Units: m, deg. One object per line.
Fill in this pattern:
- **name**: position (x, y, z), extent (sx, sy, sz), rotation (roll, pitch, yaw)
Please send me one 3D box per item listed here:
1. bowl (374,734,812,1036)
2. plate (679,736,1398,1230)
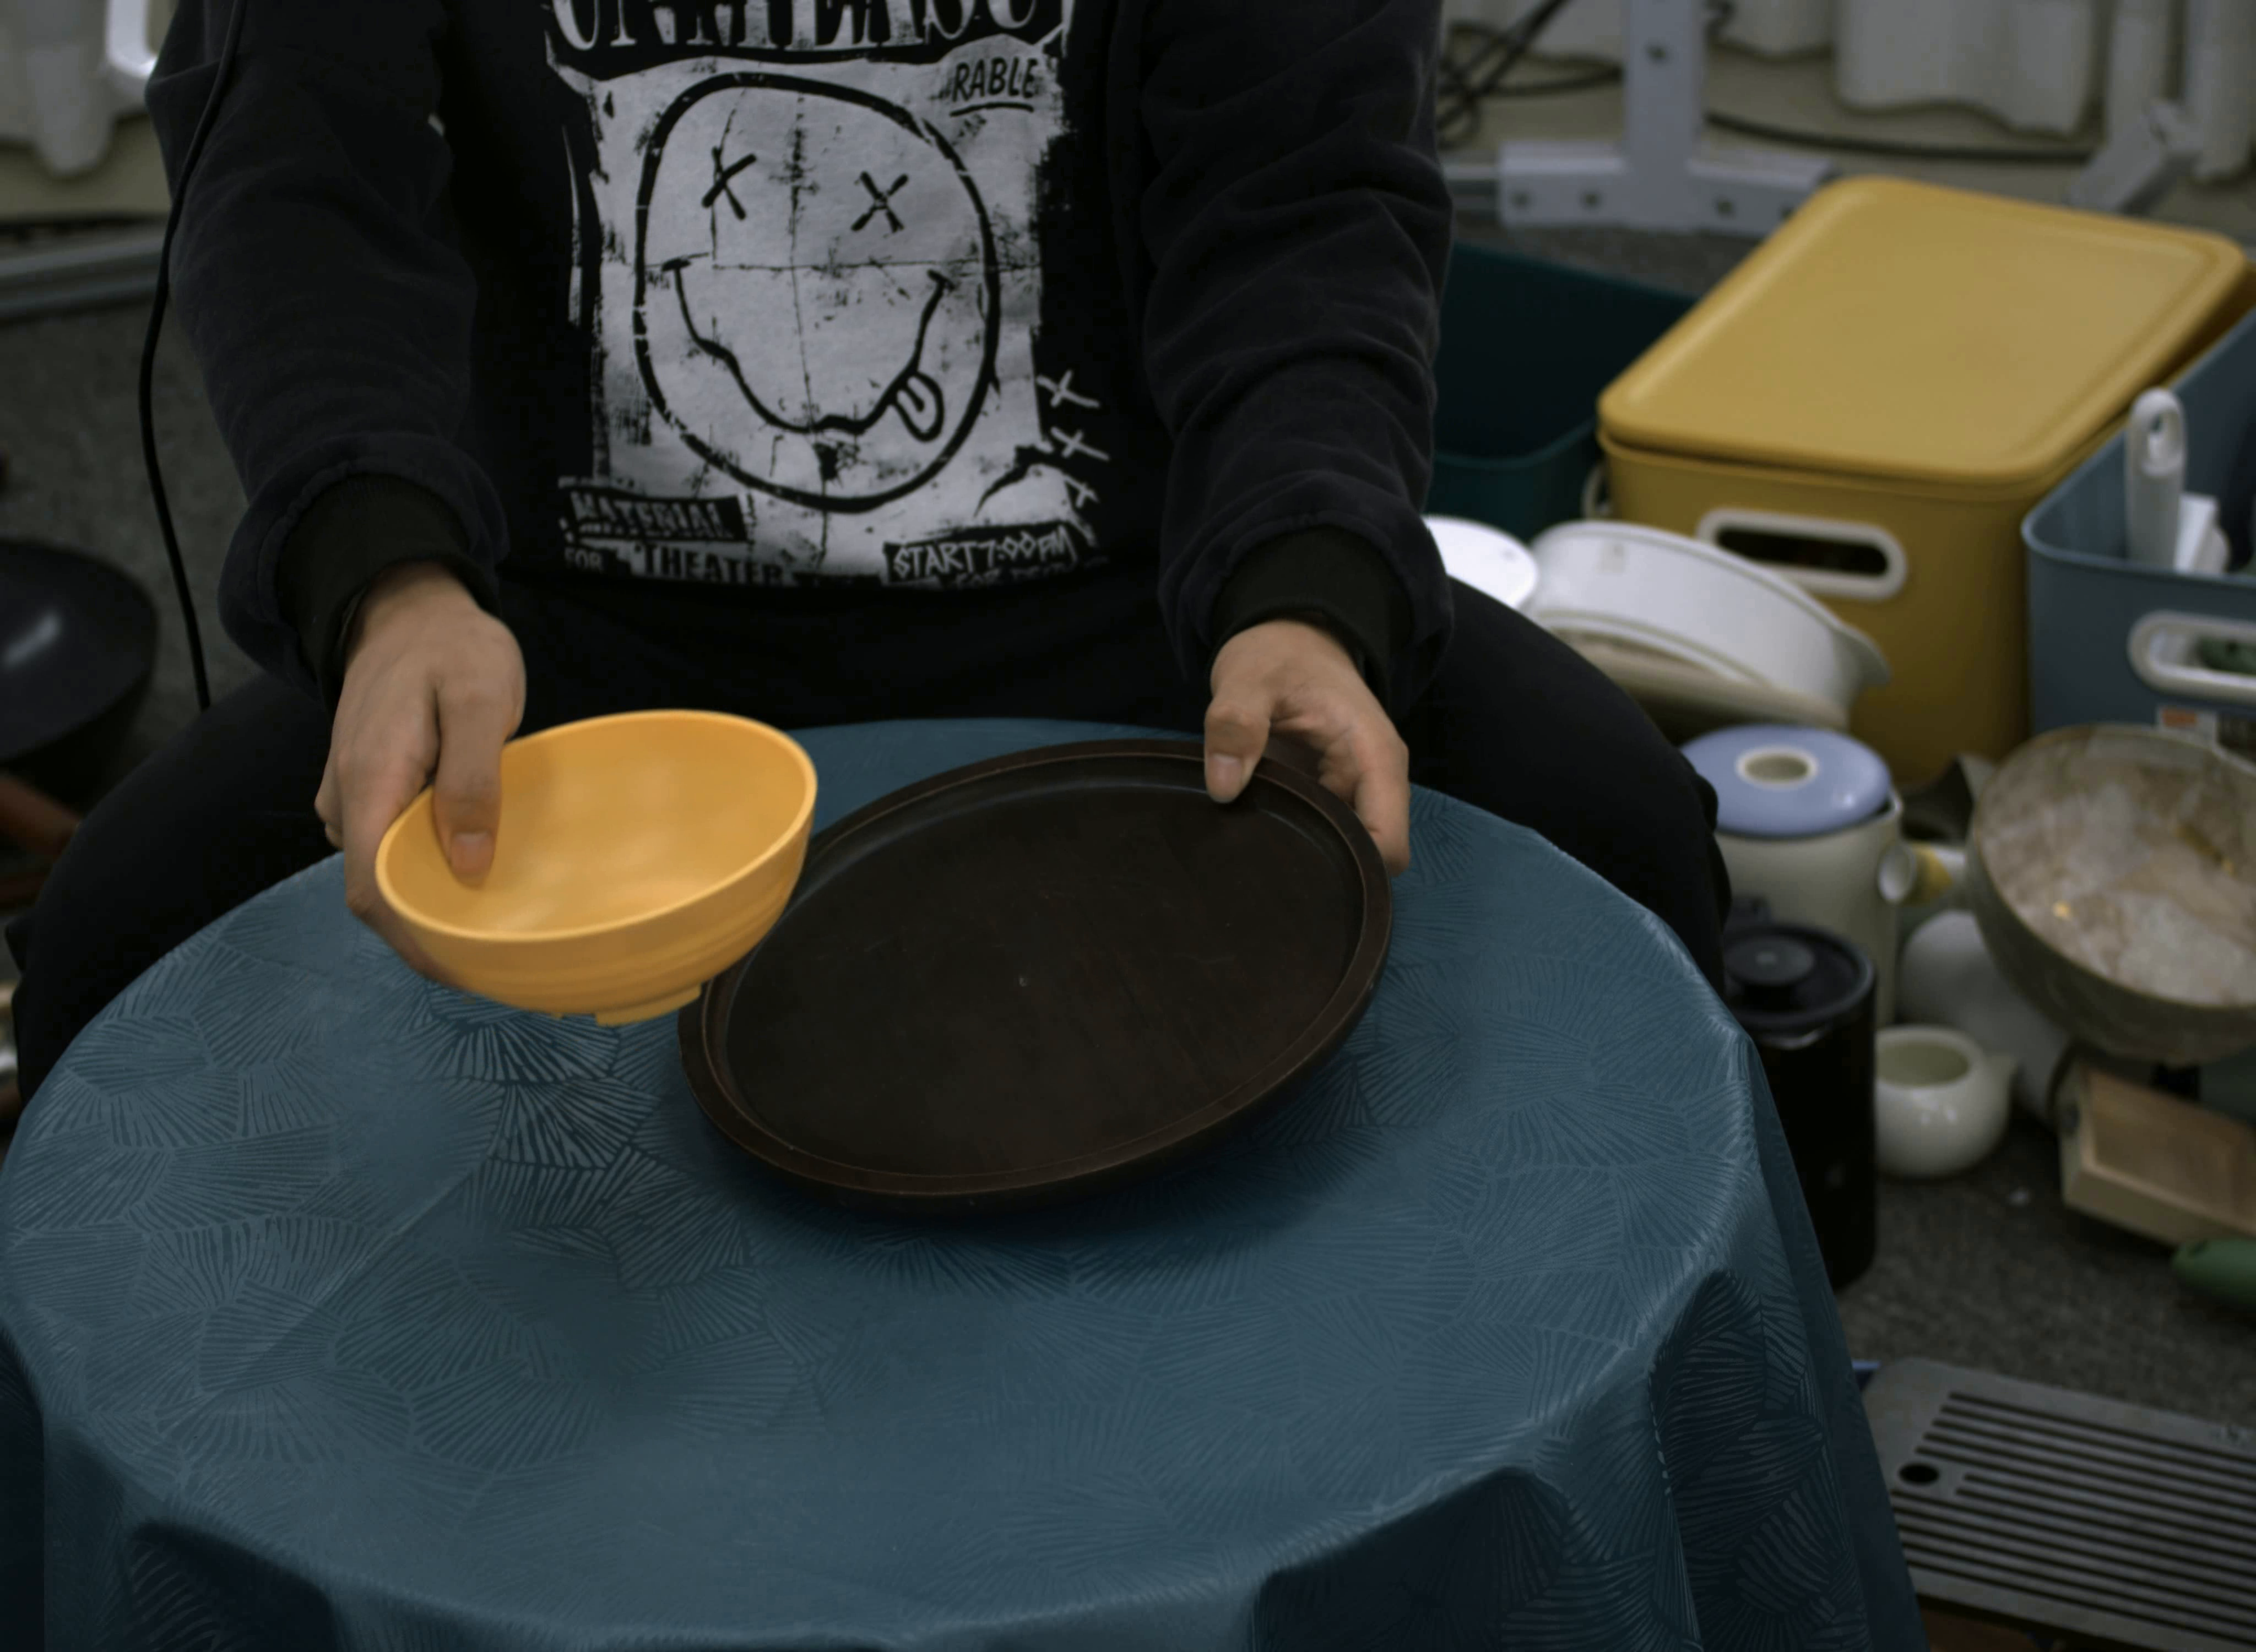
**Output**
- **bowl**: position (-0.168, 0.027, 1.821), extent (0.144, 0.059, 0.147), rotation (-8, 25, 4)
- **plate**: position (-0.030, 0.052, 1.926), extent (0.253, 0.029, 0.259), rotation (-11, 34, 8)
